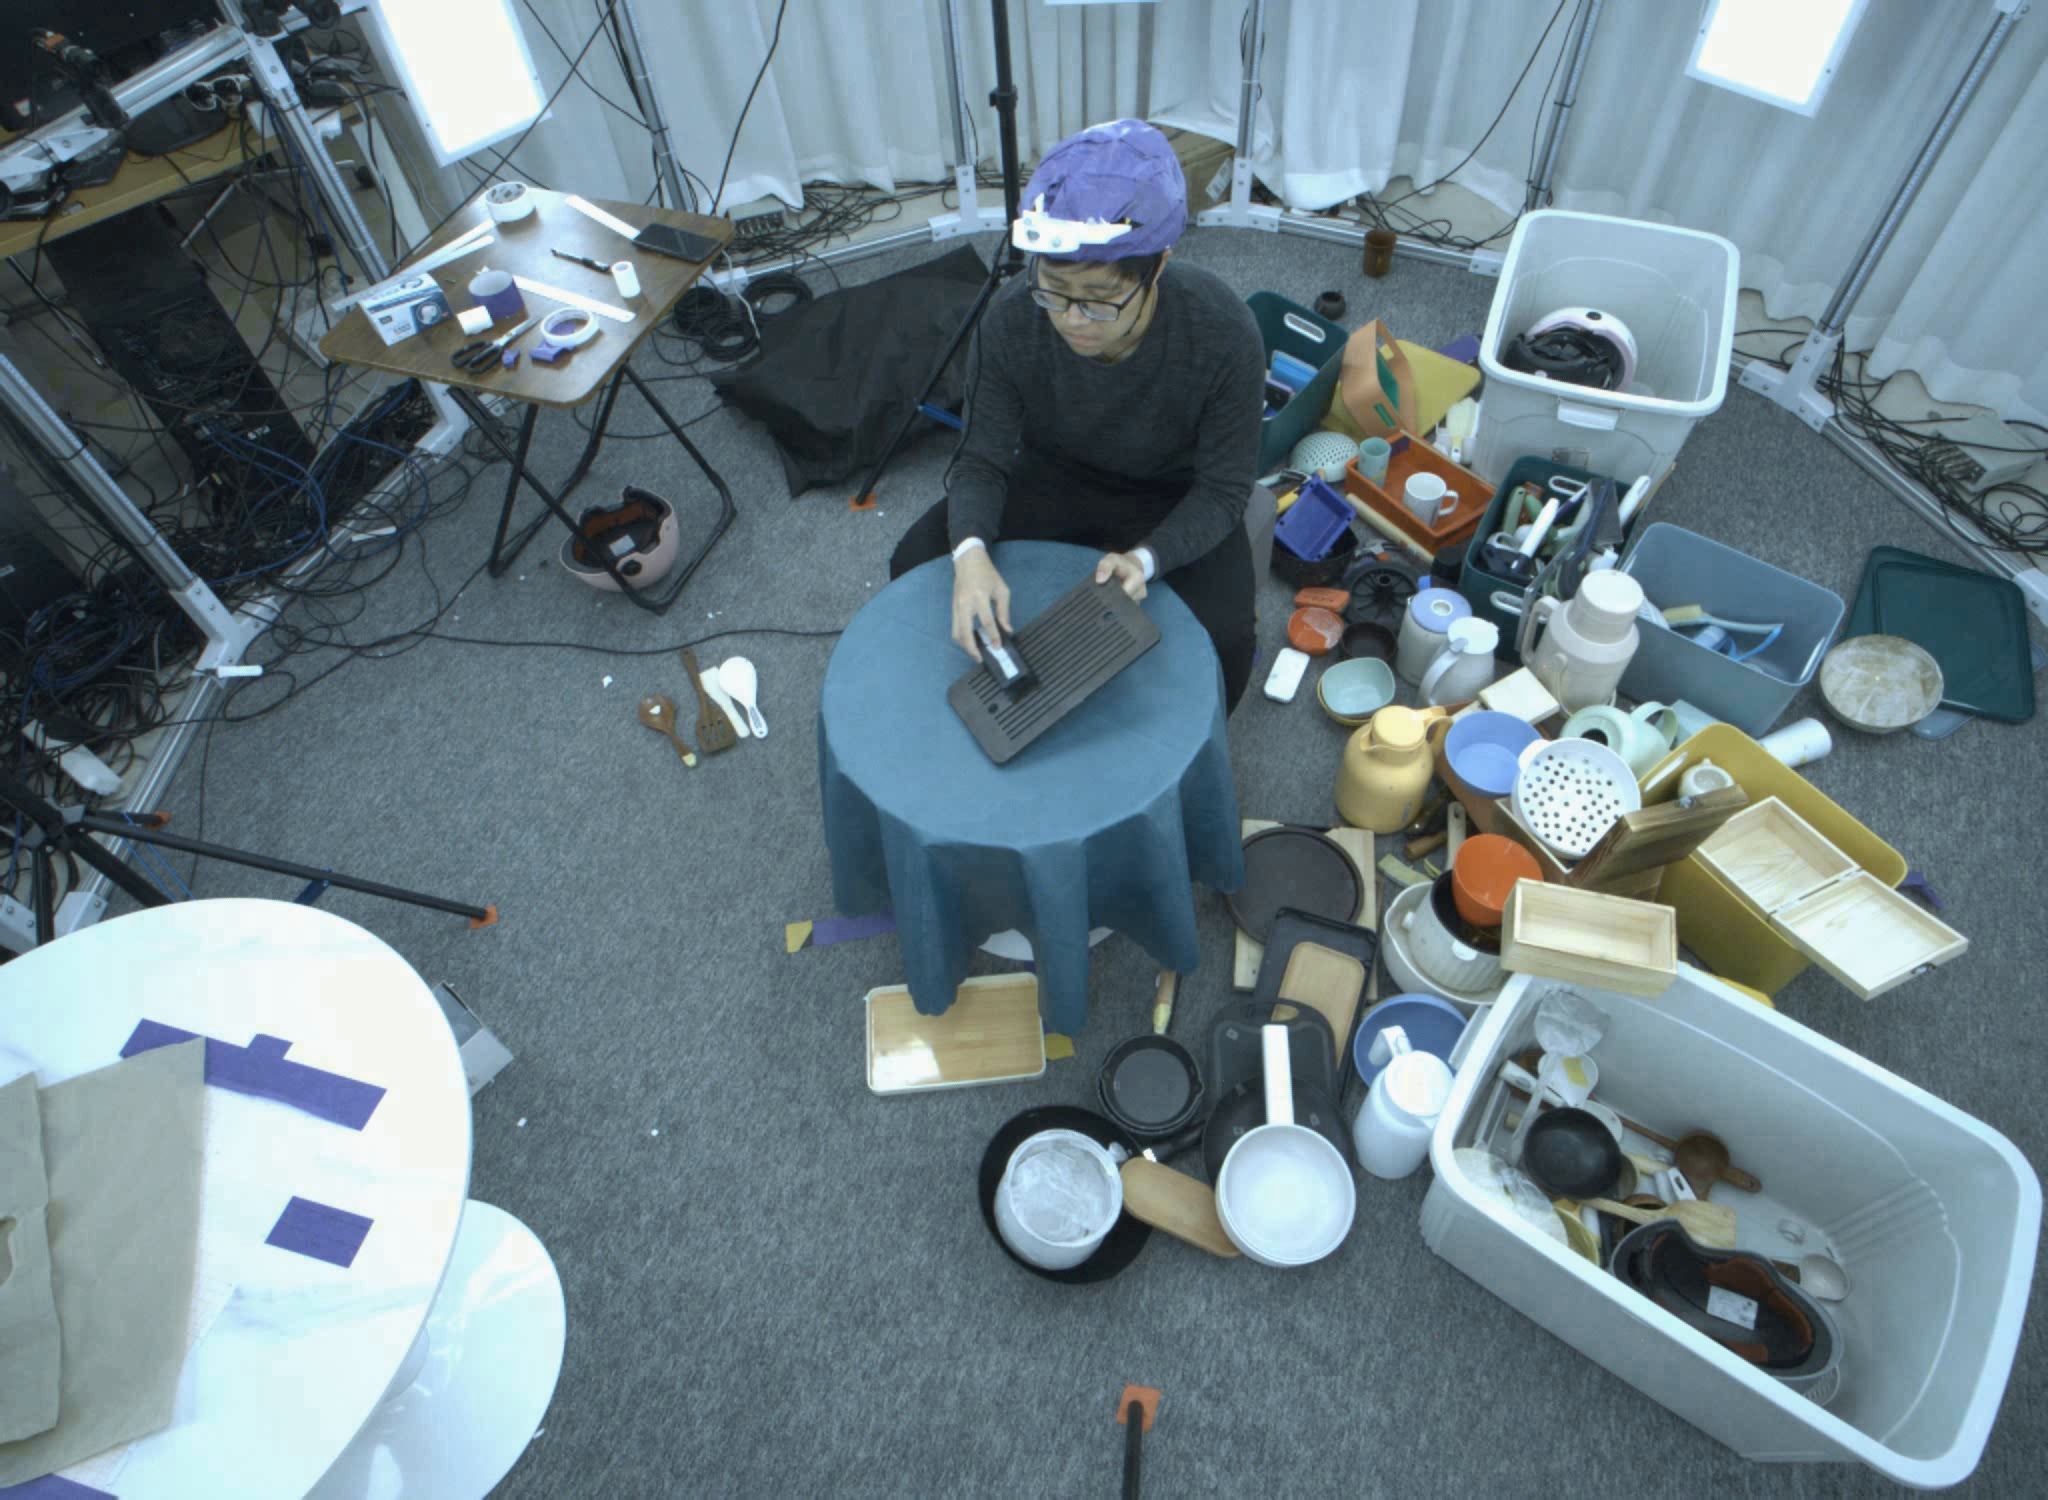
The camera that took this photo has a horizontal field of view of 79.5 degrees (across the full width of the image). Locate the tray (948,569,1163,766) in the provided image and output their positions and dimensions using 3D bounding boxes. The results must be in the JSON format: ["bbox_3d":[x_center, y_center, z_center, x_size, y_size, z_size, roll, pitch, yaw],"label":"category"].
[{"bbox_3d":[0.044,-0.122,1.801,0.306,0.019,0.167,-38,58,1],"label":"tray"}]

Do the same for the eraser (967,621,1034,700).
[{"bbox_3d":[-0.035,-0.133,1.814,0.053,0.031,0.123,-34,56,2],"label":"eraser"}]
